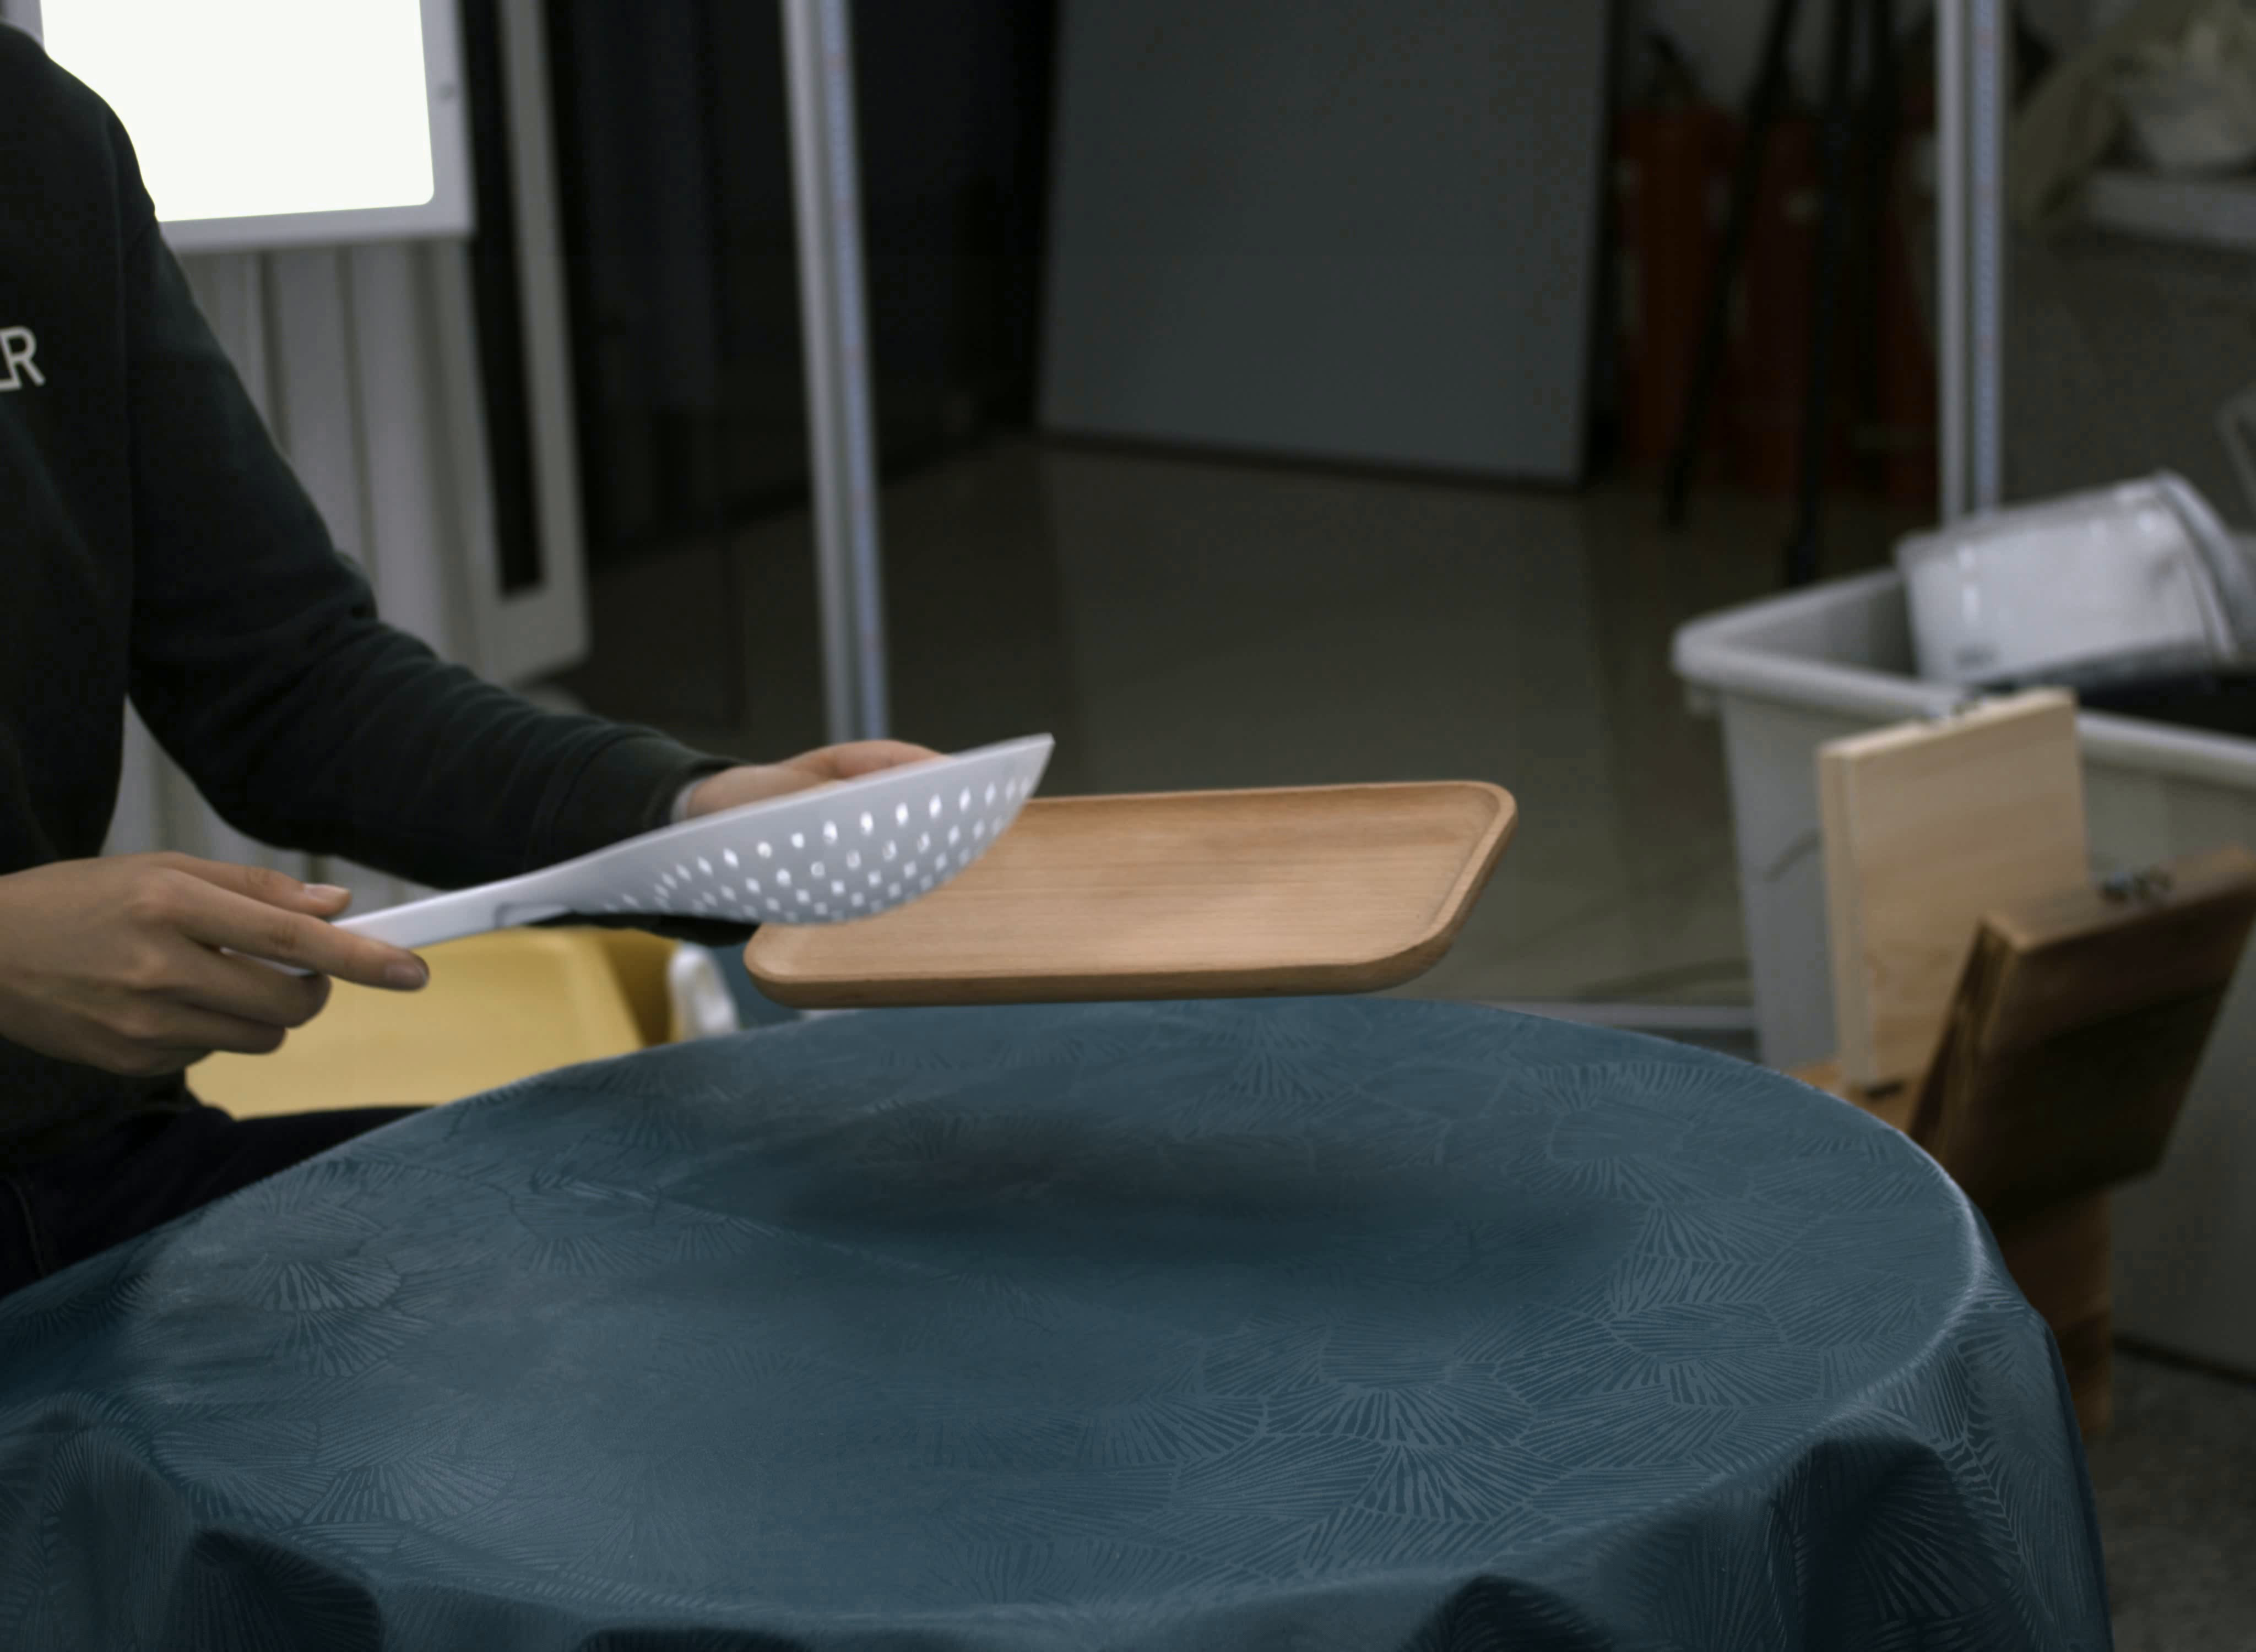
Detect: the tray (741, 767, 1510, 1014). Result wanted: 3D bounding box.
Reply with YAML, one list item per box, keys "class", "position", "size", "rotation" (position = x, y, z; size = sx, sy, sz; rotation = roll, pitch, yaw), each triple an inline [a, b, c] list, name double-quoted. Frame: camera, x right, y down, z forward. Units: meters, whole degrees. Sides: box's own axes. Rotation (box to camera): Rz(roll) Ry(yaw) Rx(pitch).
- class: "tray"
  position: [-0.001, 0.022, 1.772]
  size: [0.251, 0.023, 0.129]
  rotation: [-4, 24, 25]

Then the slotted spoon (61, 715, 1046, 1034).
- class: "slotted spoon"
  position: [-0.183, 0.018, 1.678]
  size: [0.350, 0.046, 0.134]
  rotation: [-10, -1, 24]
